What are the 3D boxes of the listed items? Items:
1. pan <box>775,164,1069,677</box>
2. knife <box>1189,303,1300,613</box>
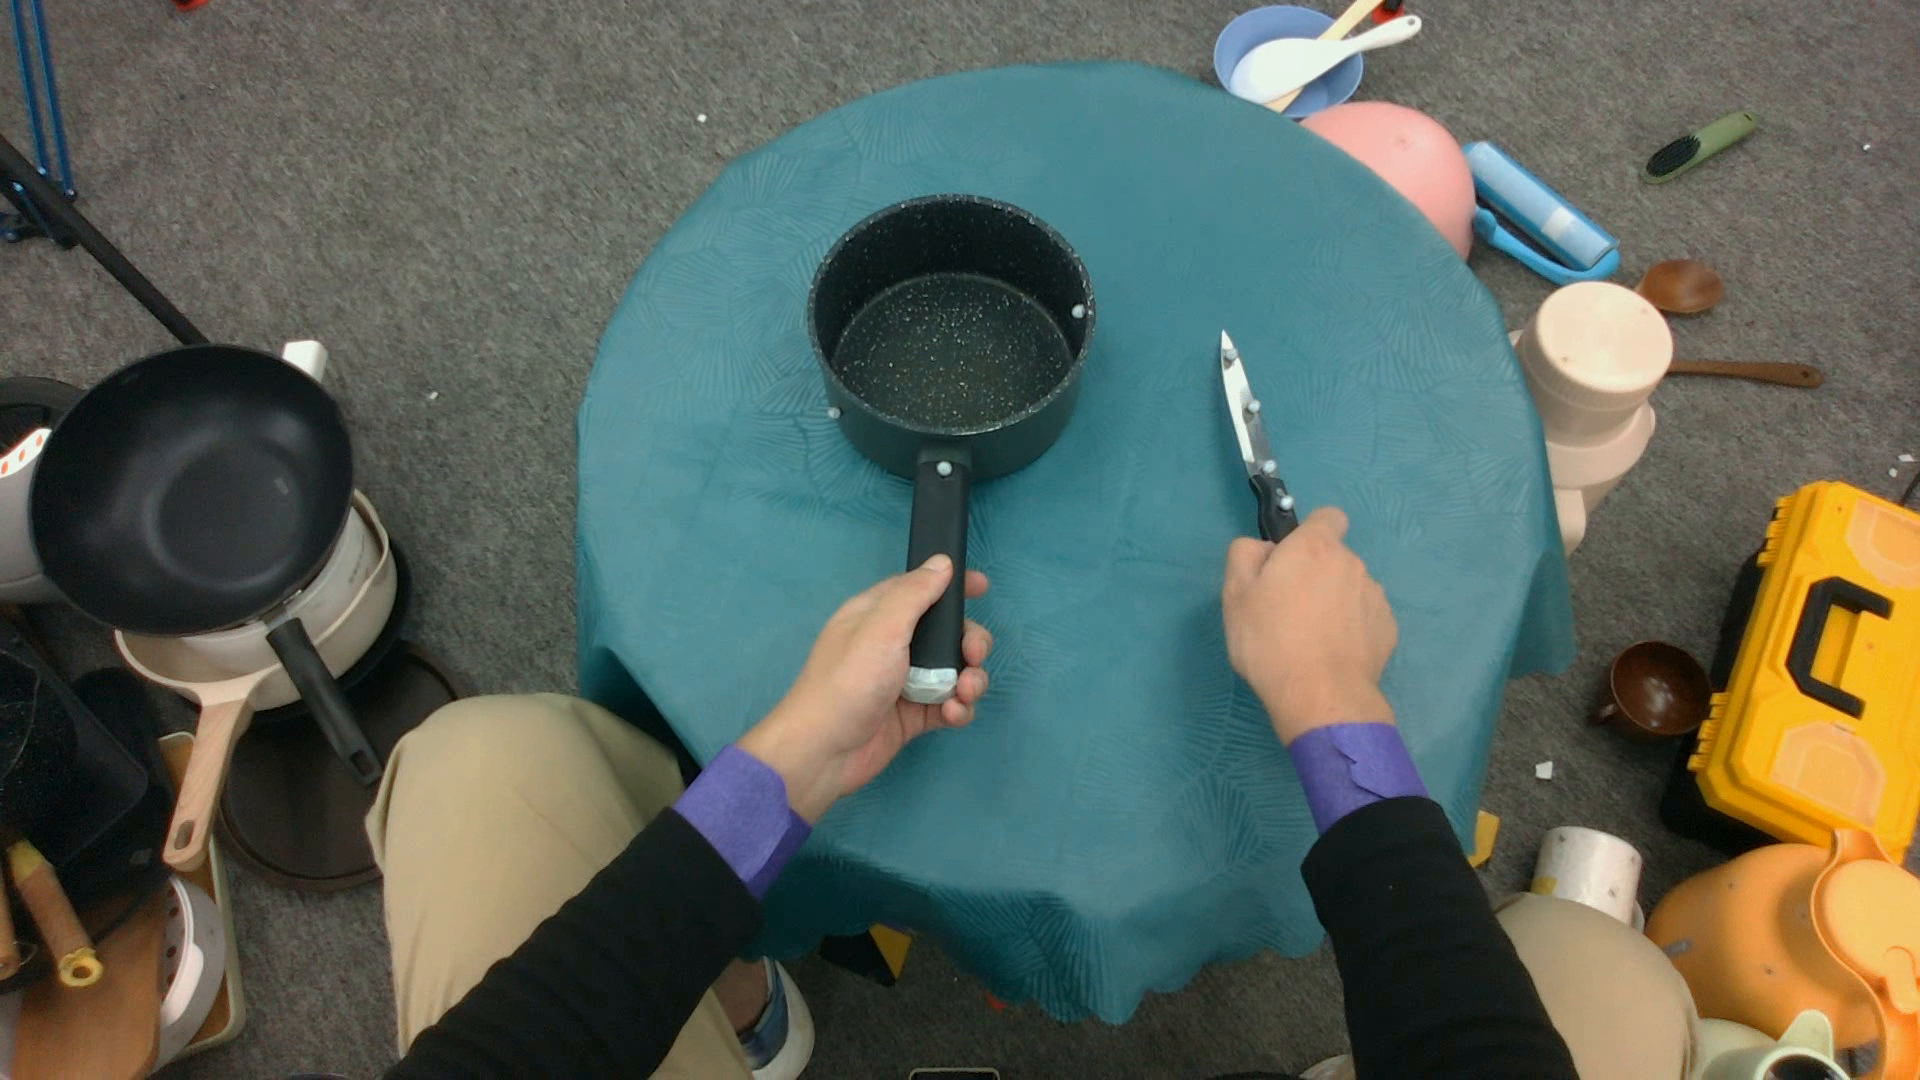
[{"bbox_3d":[-0.029,-0.066,0.803,0.172,0.086,0.330,5,64,2],"label":"pan"},{"bbox_3d":[0.166,-0.057,0.821,0.024,0.016,0.239,12,49,-26],"label":"knife"}]
